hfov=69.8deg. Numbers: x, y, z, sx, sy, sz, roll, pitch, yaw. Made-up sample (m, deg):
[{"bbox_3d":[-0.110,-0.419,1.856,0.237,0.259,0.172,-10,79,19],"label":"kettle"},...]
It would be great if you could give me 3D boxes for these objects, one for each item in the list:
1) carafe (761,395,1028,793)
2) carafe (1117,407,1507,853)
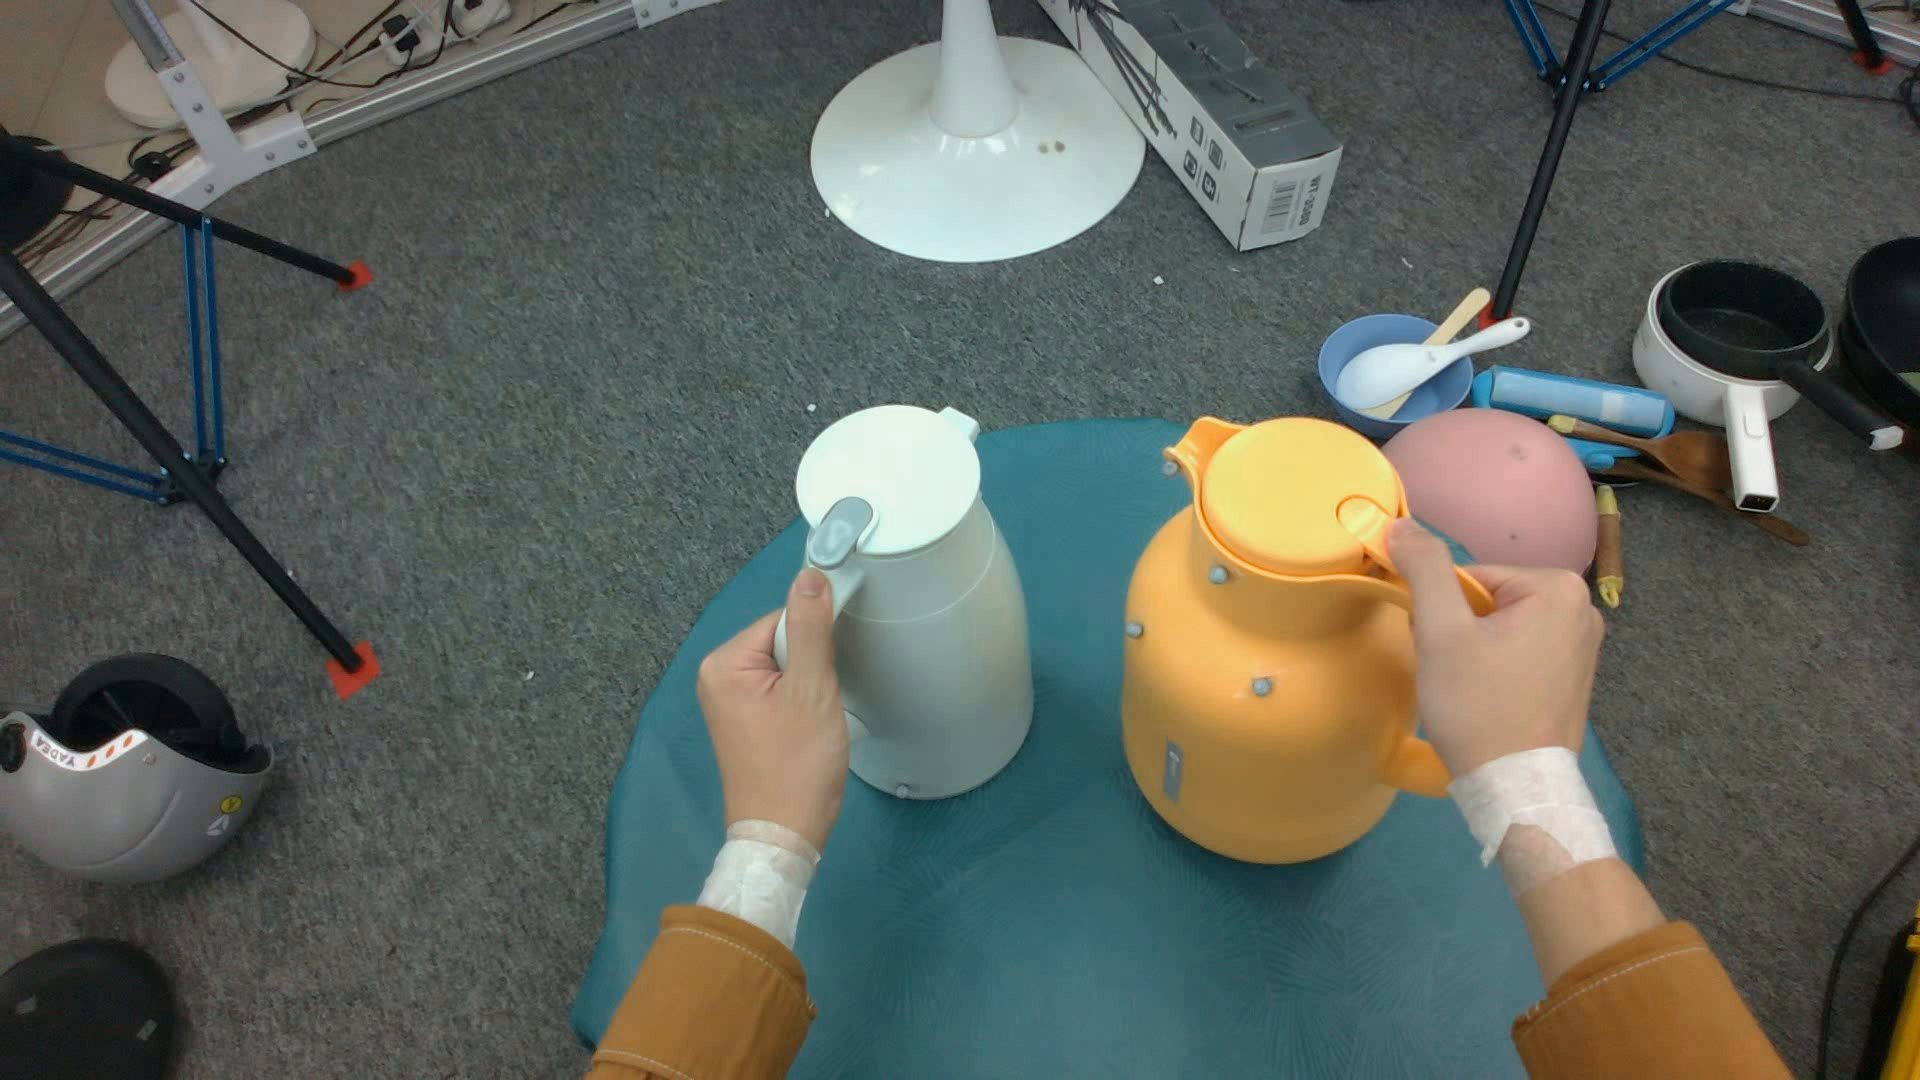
[{"bbox_3d":[-0.041,0.044,0.761,0.132,0.247,0.168,27,62,21],"label":"carafe"},{"bbox_3d":[0.177,0.057,0.722,0.164,0.259,0.202,-40,57,-21],"label":"carafe"}]
